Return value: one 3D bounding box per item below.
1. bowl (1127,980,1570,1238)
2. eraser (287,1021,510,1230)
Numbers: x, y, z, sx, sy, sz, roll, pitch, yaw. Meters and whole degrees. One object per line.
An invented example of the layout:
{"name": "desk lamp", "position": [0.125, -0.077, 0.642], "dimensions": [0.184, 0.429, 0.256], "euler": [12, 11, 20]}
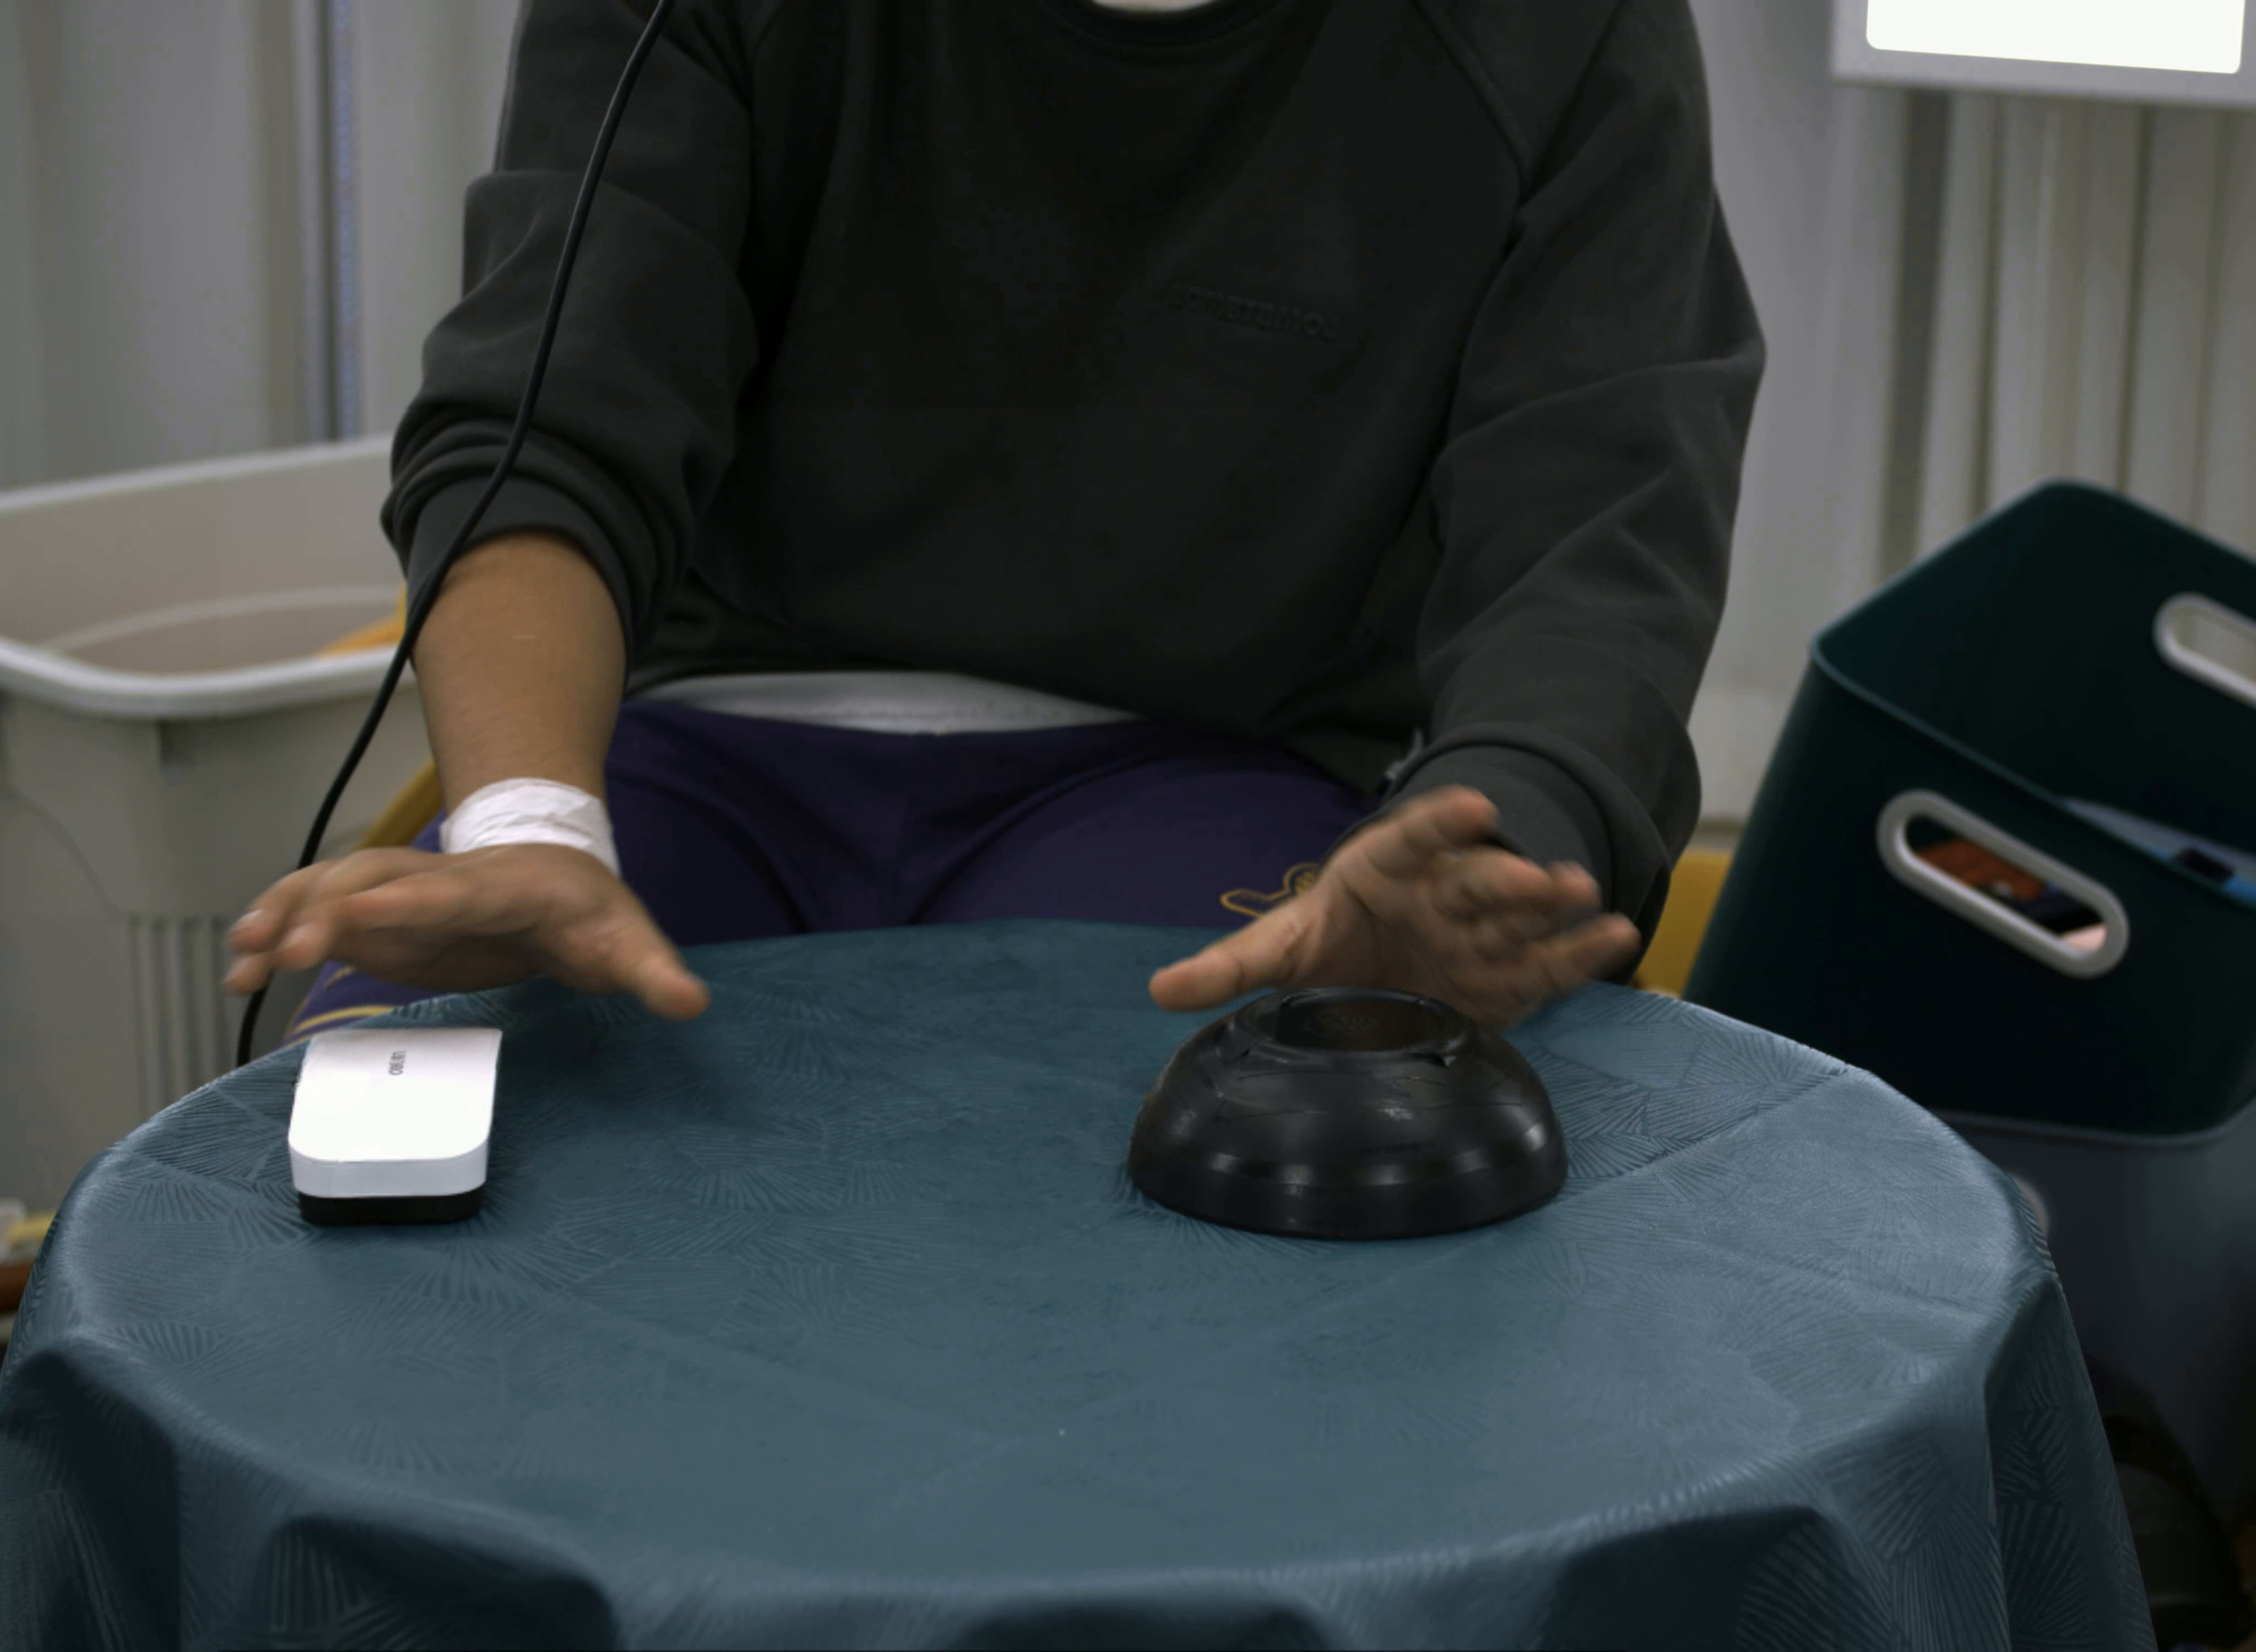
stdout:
{"name": "bowl", "position": [0.068, 0.081, 1.639], "dimensions": [0.139, 0.050, 0.139], "euler": [-1, 17, 1]}
{"name": "eraser", "position": [-0.225, 0.089, 1.640], "dimensions": [0.063, 0.035, 0.130], "euler": [1, 17, -3]}
